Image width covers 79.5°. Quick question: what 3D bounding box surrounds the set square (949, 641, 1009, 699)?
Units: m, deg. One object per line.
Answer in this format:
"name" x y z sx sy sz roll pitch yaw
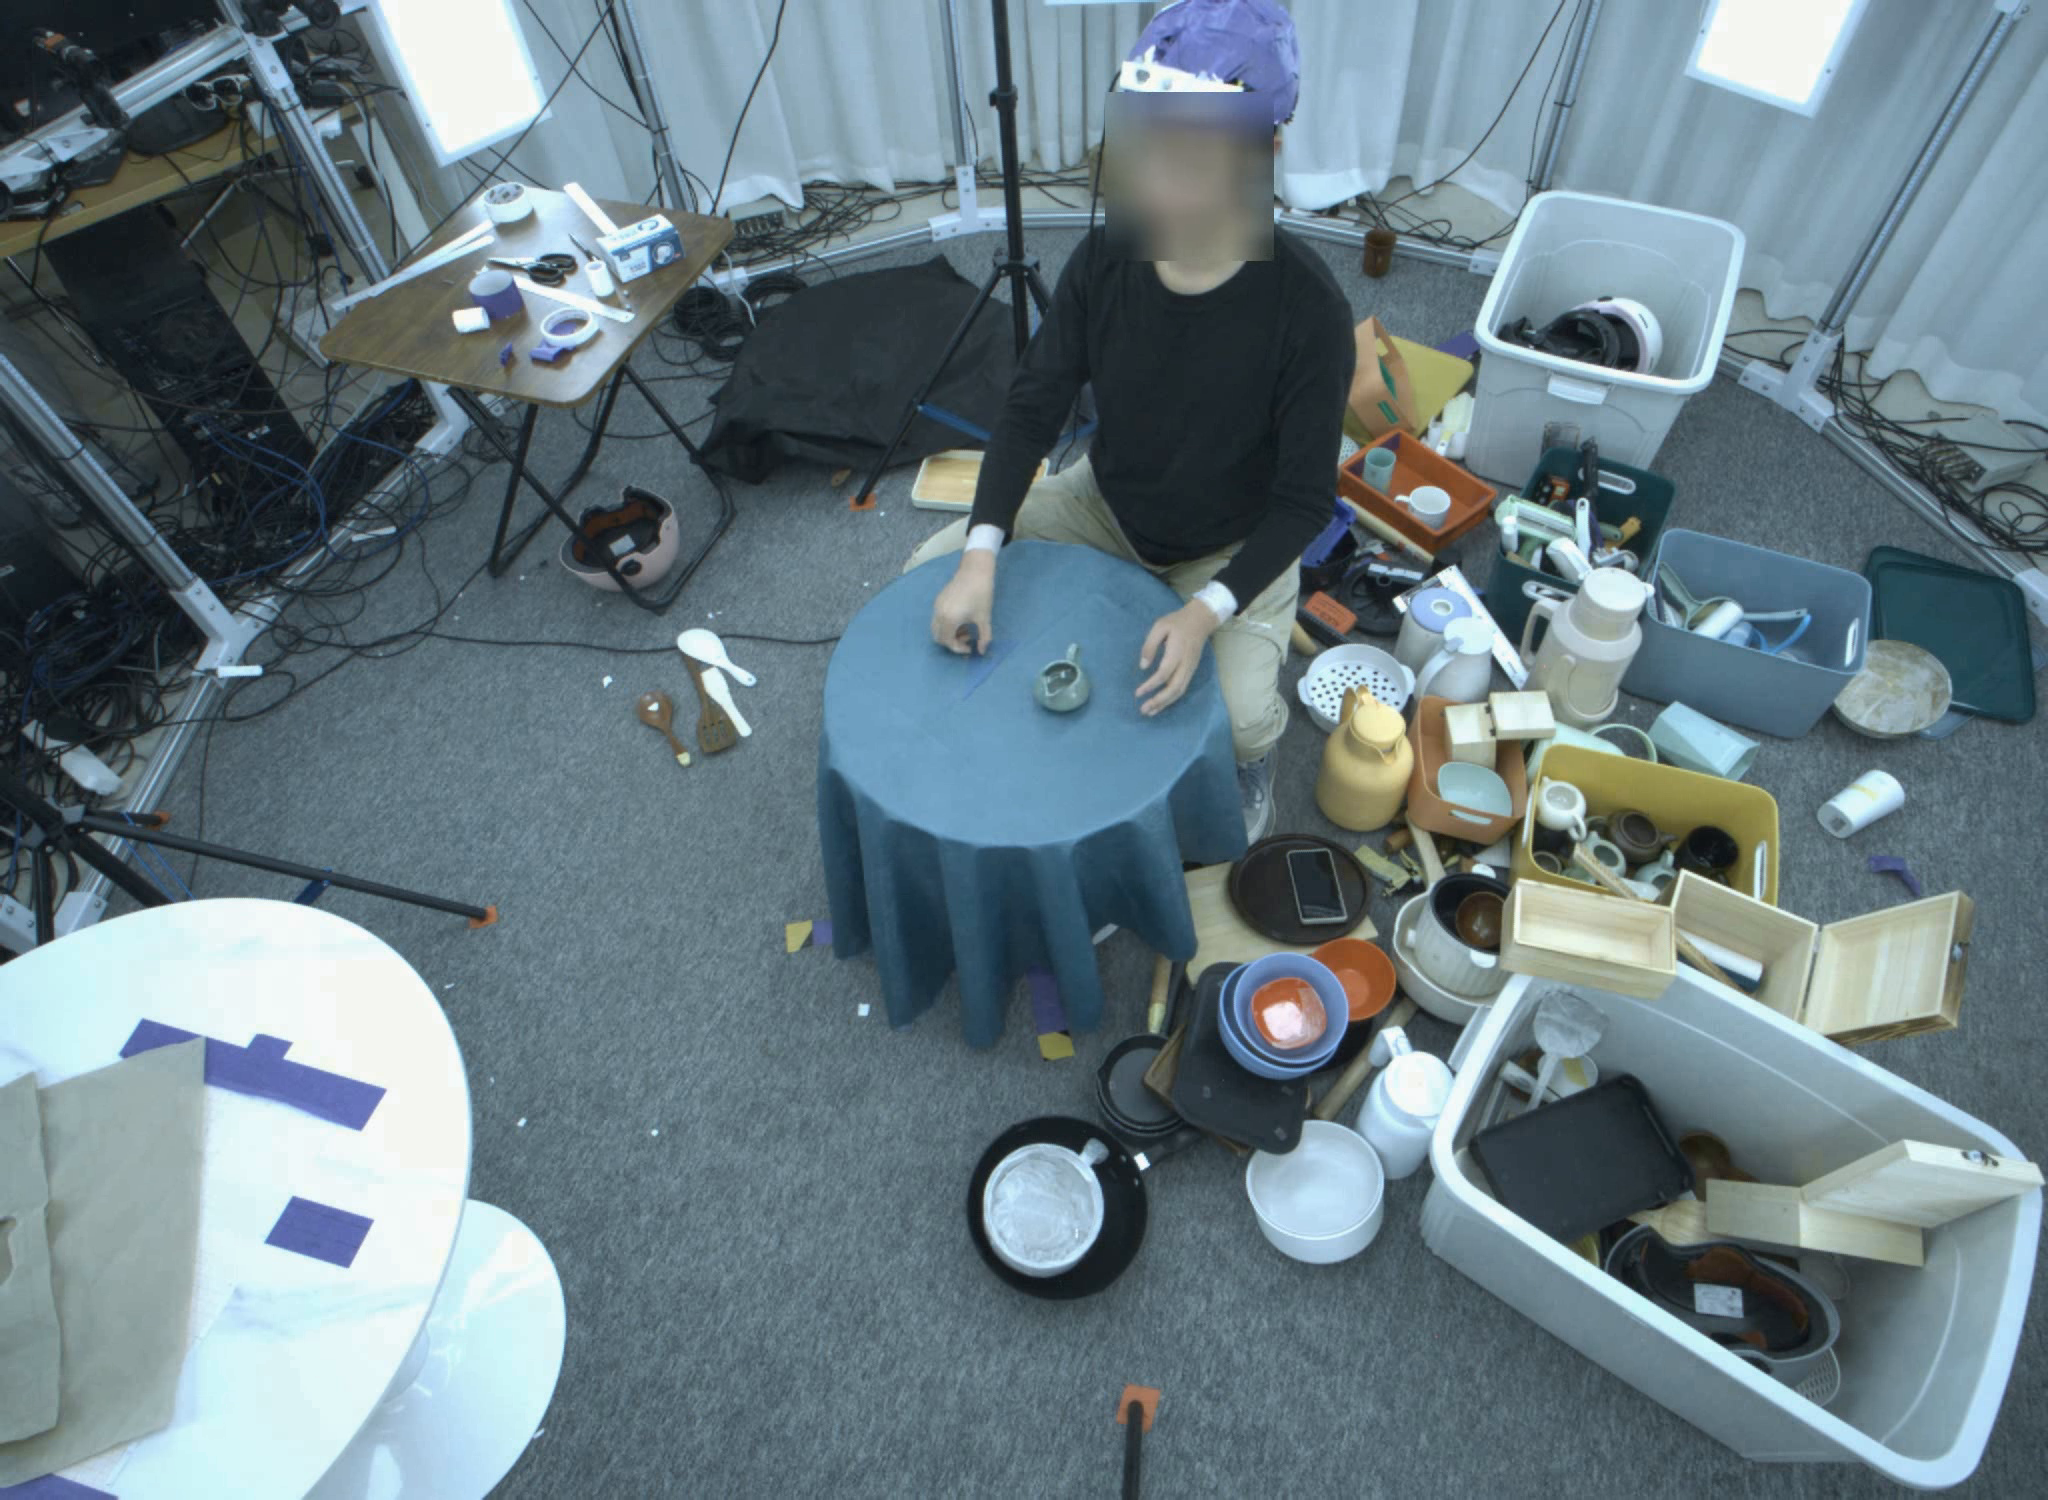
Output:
"set square" -0.085 -0.132 1.882 0.060 0.006 0.133 33 63 22

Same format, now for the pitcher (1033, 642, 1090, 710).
"pitcher" 0.058 -0.107 1.827 0.083 0.057 0.112 16 57 11
